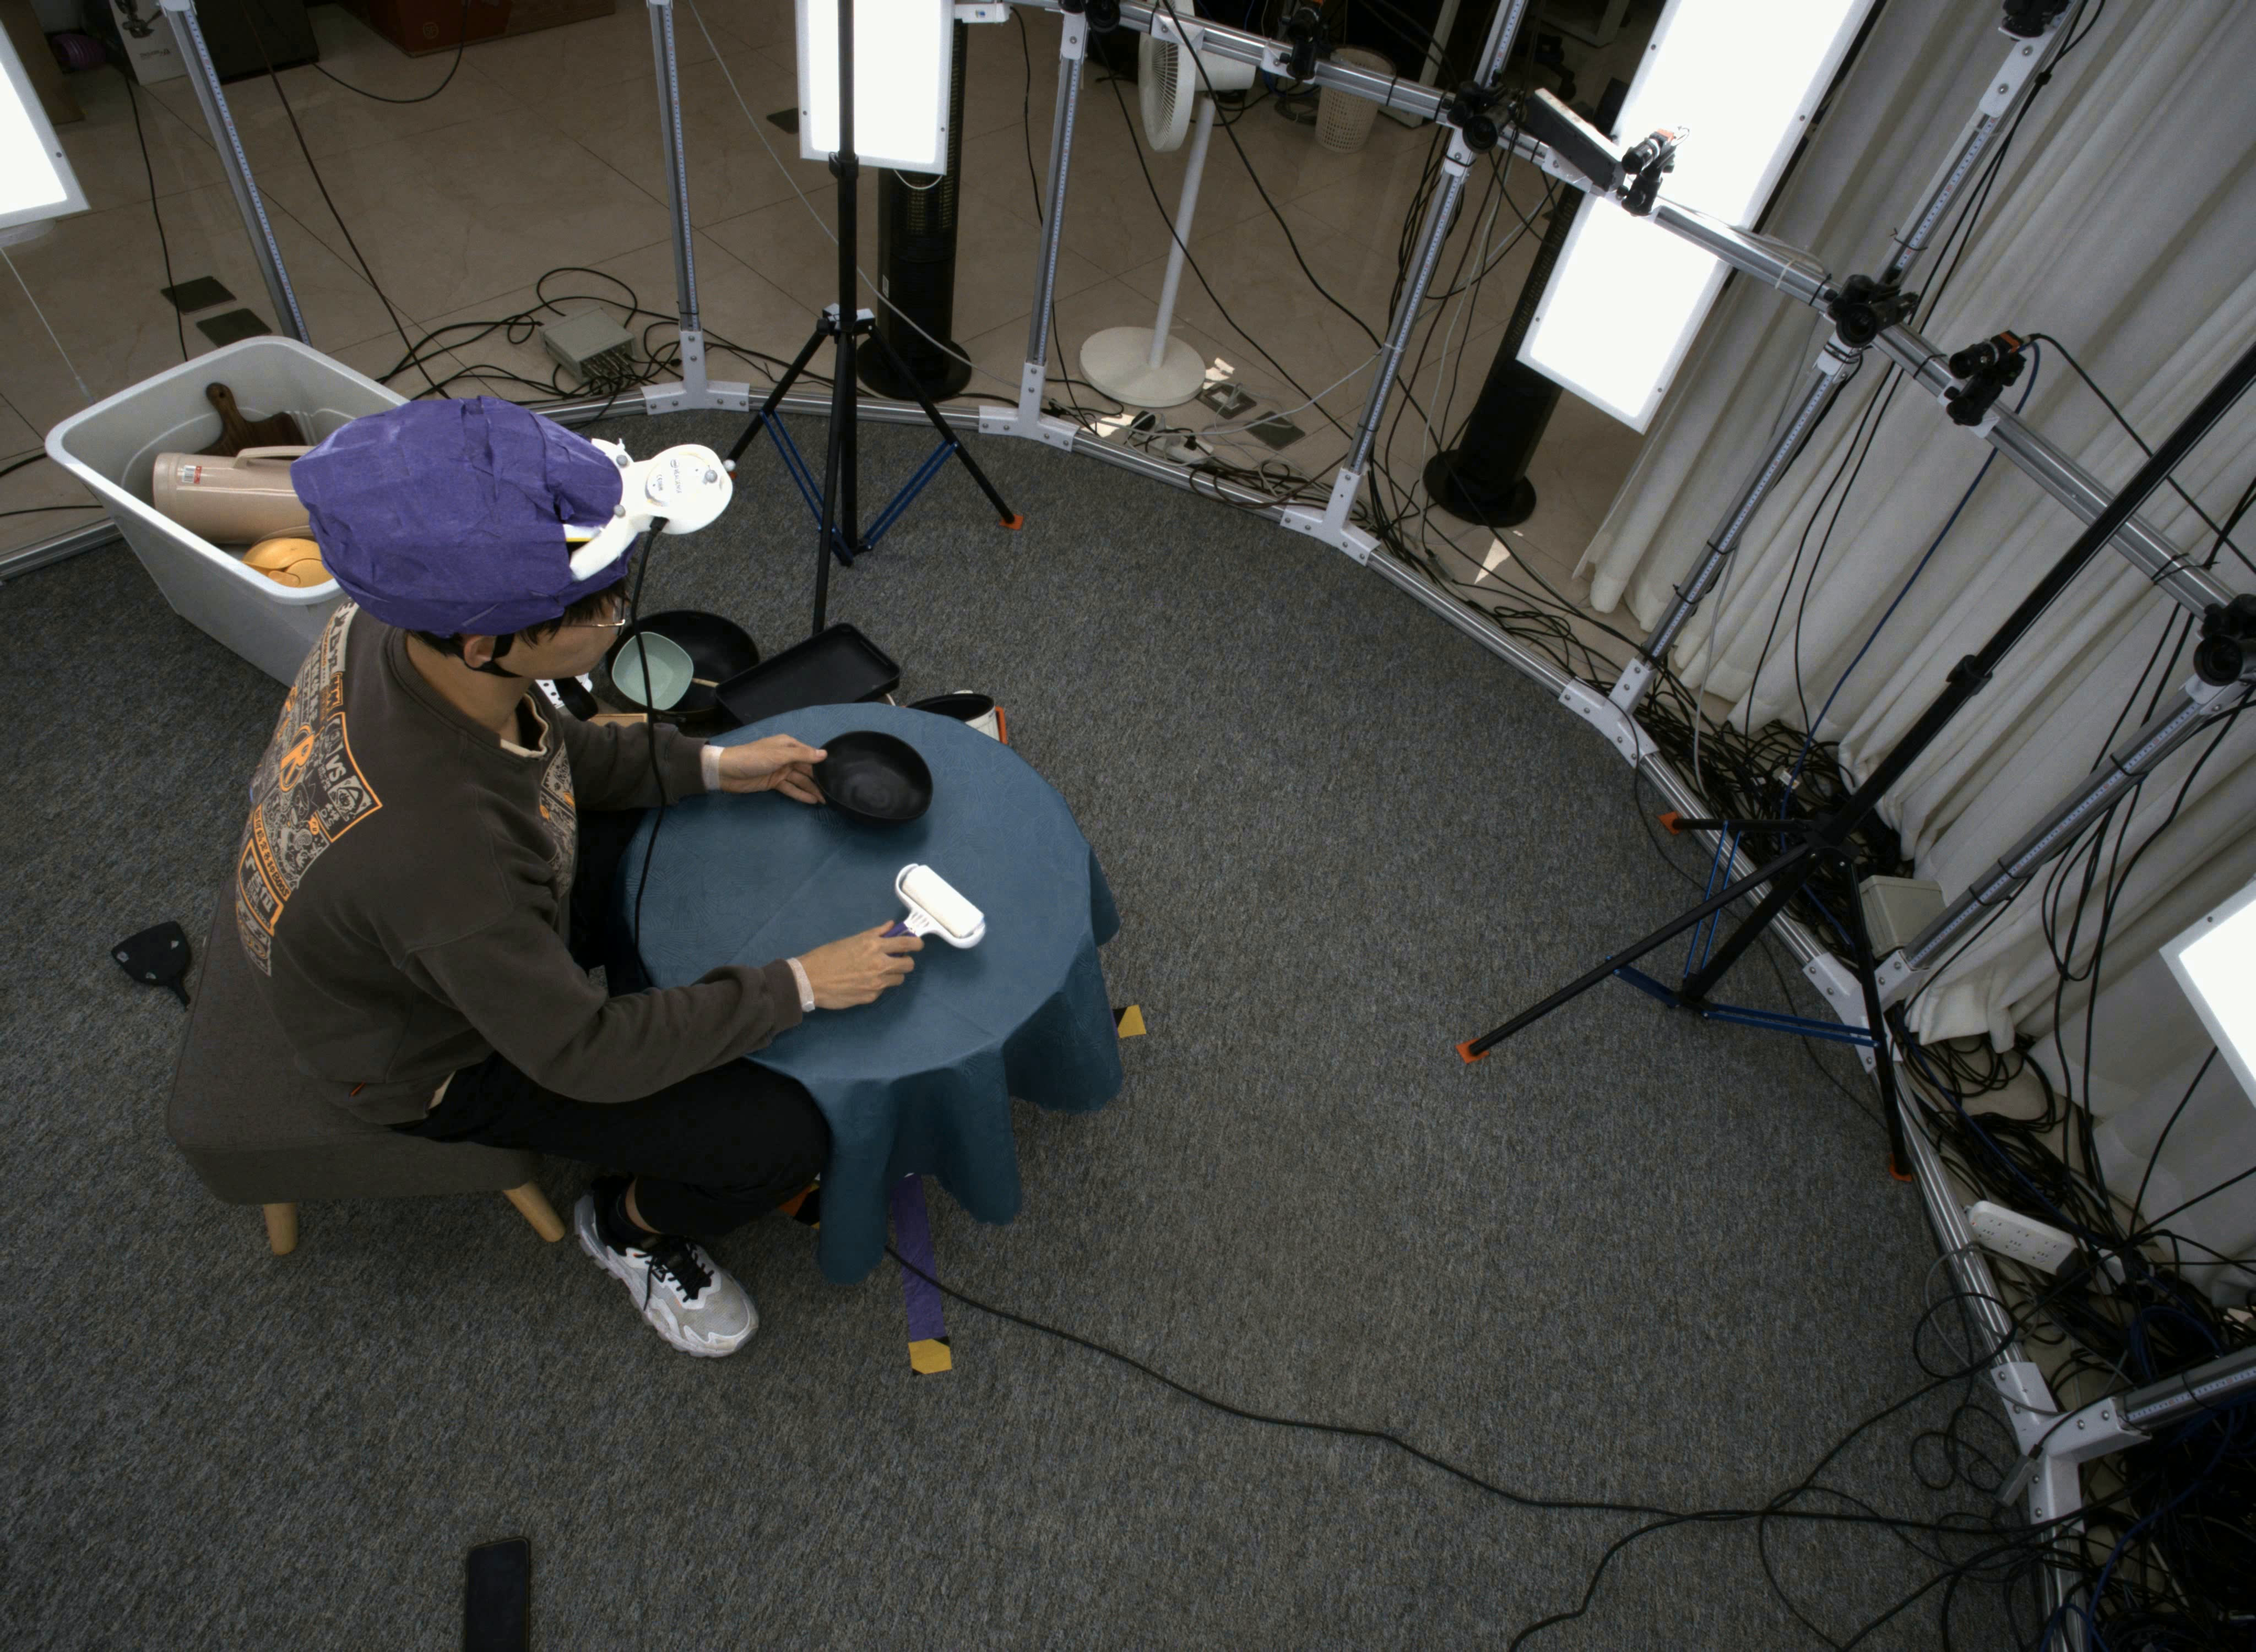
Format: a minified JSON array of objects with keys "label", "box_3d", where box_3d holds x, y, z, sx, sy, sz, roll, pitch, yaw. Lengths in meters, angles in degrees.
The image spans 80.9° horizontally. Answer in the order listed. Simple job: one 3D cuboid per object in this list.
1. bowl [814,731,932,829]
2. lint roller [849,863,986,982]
[{"label":"bowl","box_3d":[-0.343,-0.052,1.756,0.168,0.068,0.136,28,54,6]},{"label":"lint roller","box_3d":[-0.275,0.125,1.604,0.130,0.051,0.181,41,46,13]}]
